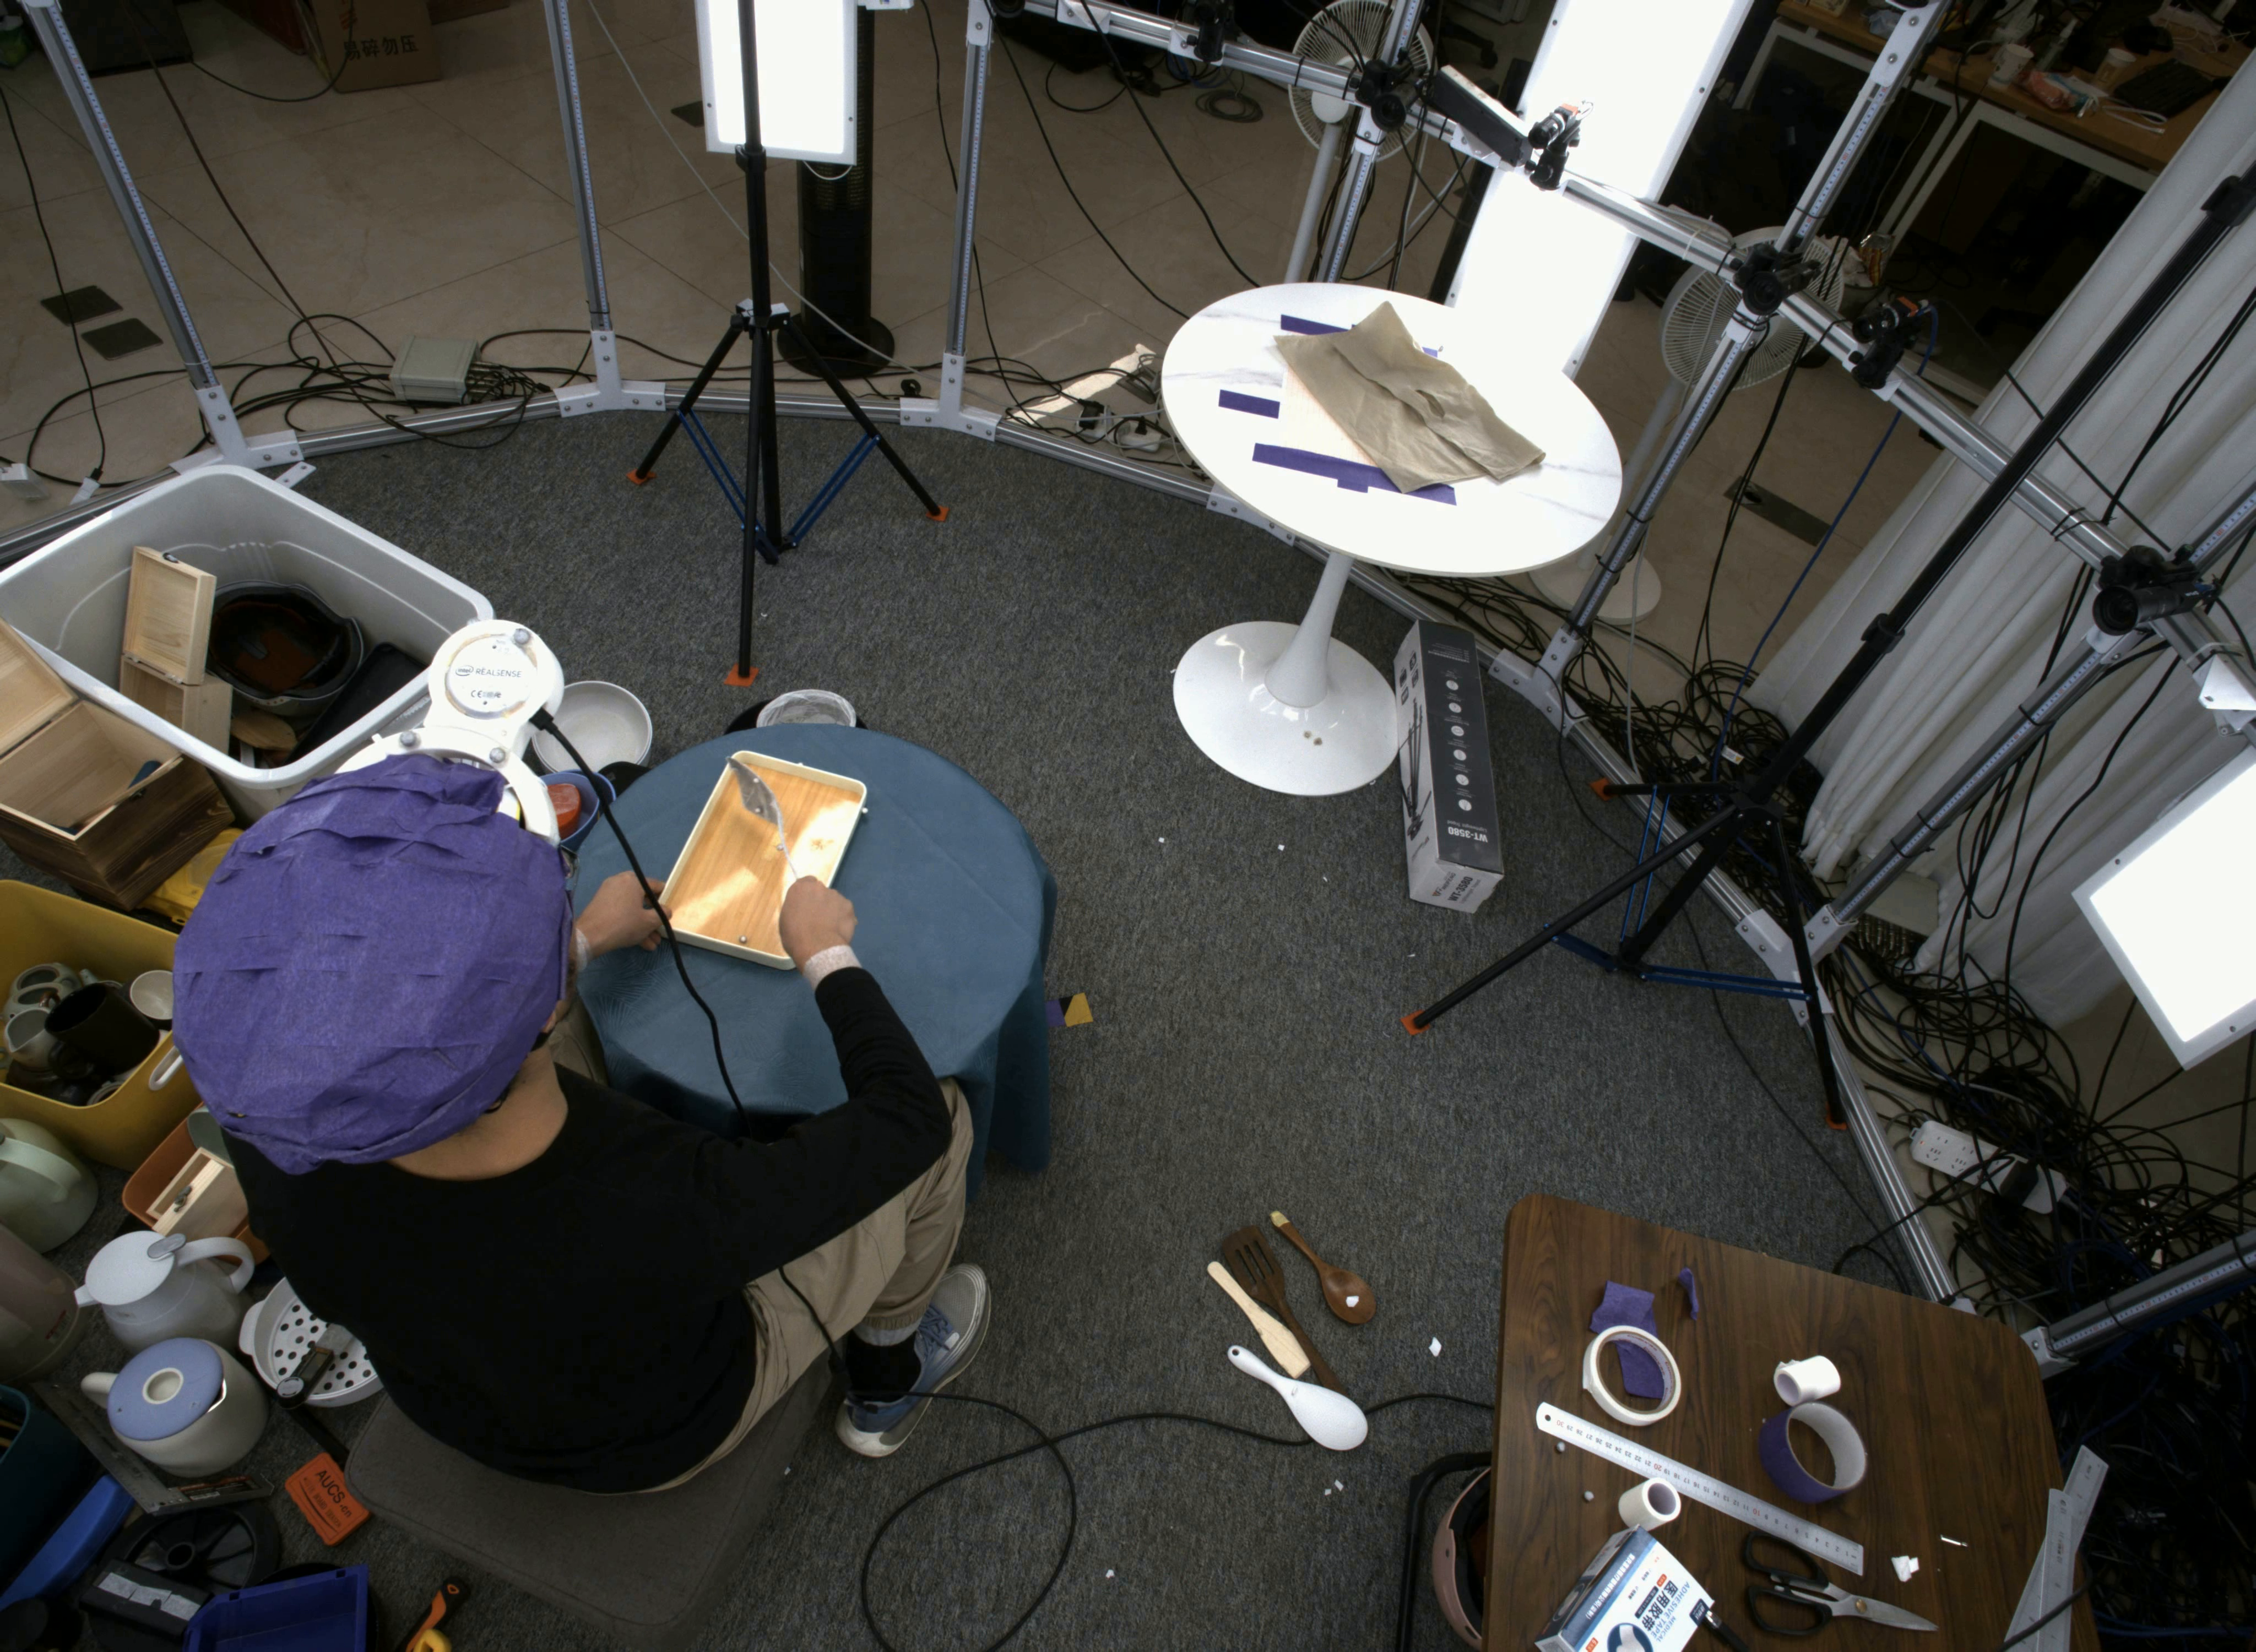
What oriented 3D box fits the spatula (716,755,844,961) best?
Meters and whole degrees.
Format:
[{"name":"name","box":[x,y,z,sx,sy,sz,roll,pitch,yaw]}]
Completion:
[{"name":"spatula","box":[-0.418,0.039,1.548,0.045,0.102,0.352,-23,49,-16]}]

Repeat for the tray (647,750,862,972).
[{"name":"tray","box":[-0.473,0.037,1.658,0.190,0.028,0.296,16,51,-4]}]
